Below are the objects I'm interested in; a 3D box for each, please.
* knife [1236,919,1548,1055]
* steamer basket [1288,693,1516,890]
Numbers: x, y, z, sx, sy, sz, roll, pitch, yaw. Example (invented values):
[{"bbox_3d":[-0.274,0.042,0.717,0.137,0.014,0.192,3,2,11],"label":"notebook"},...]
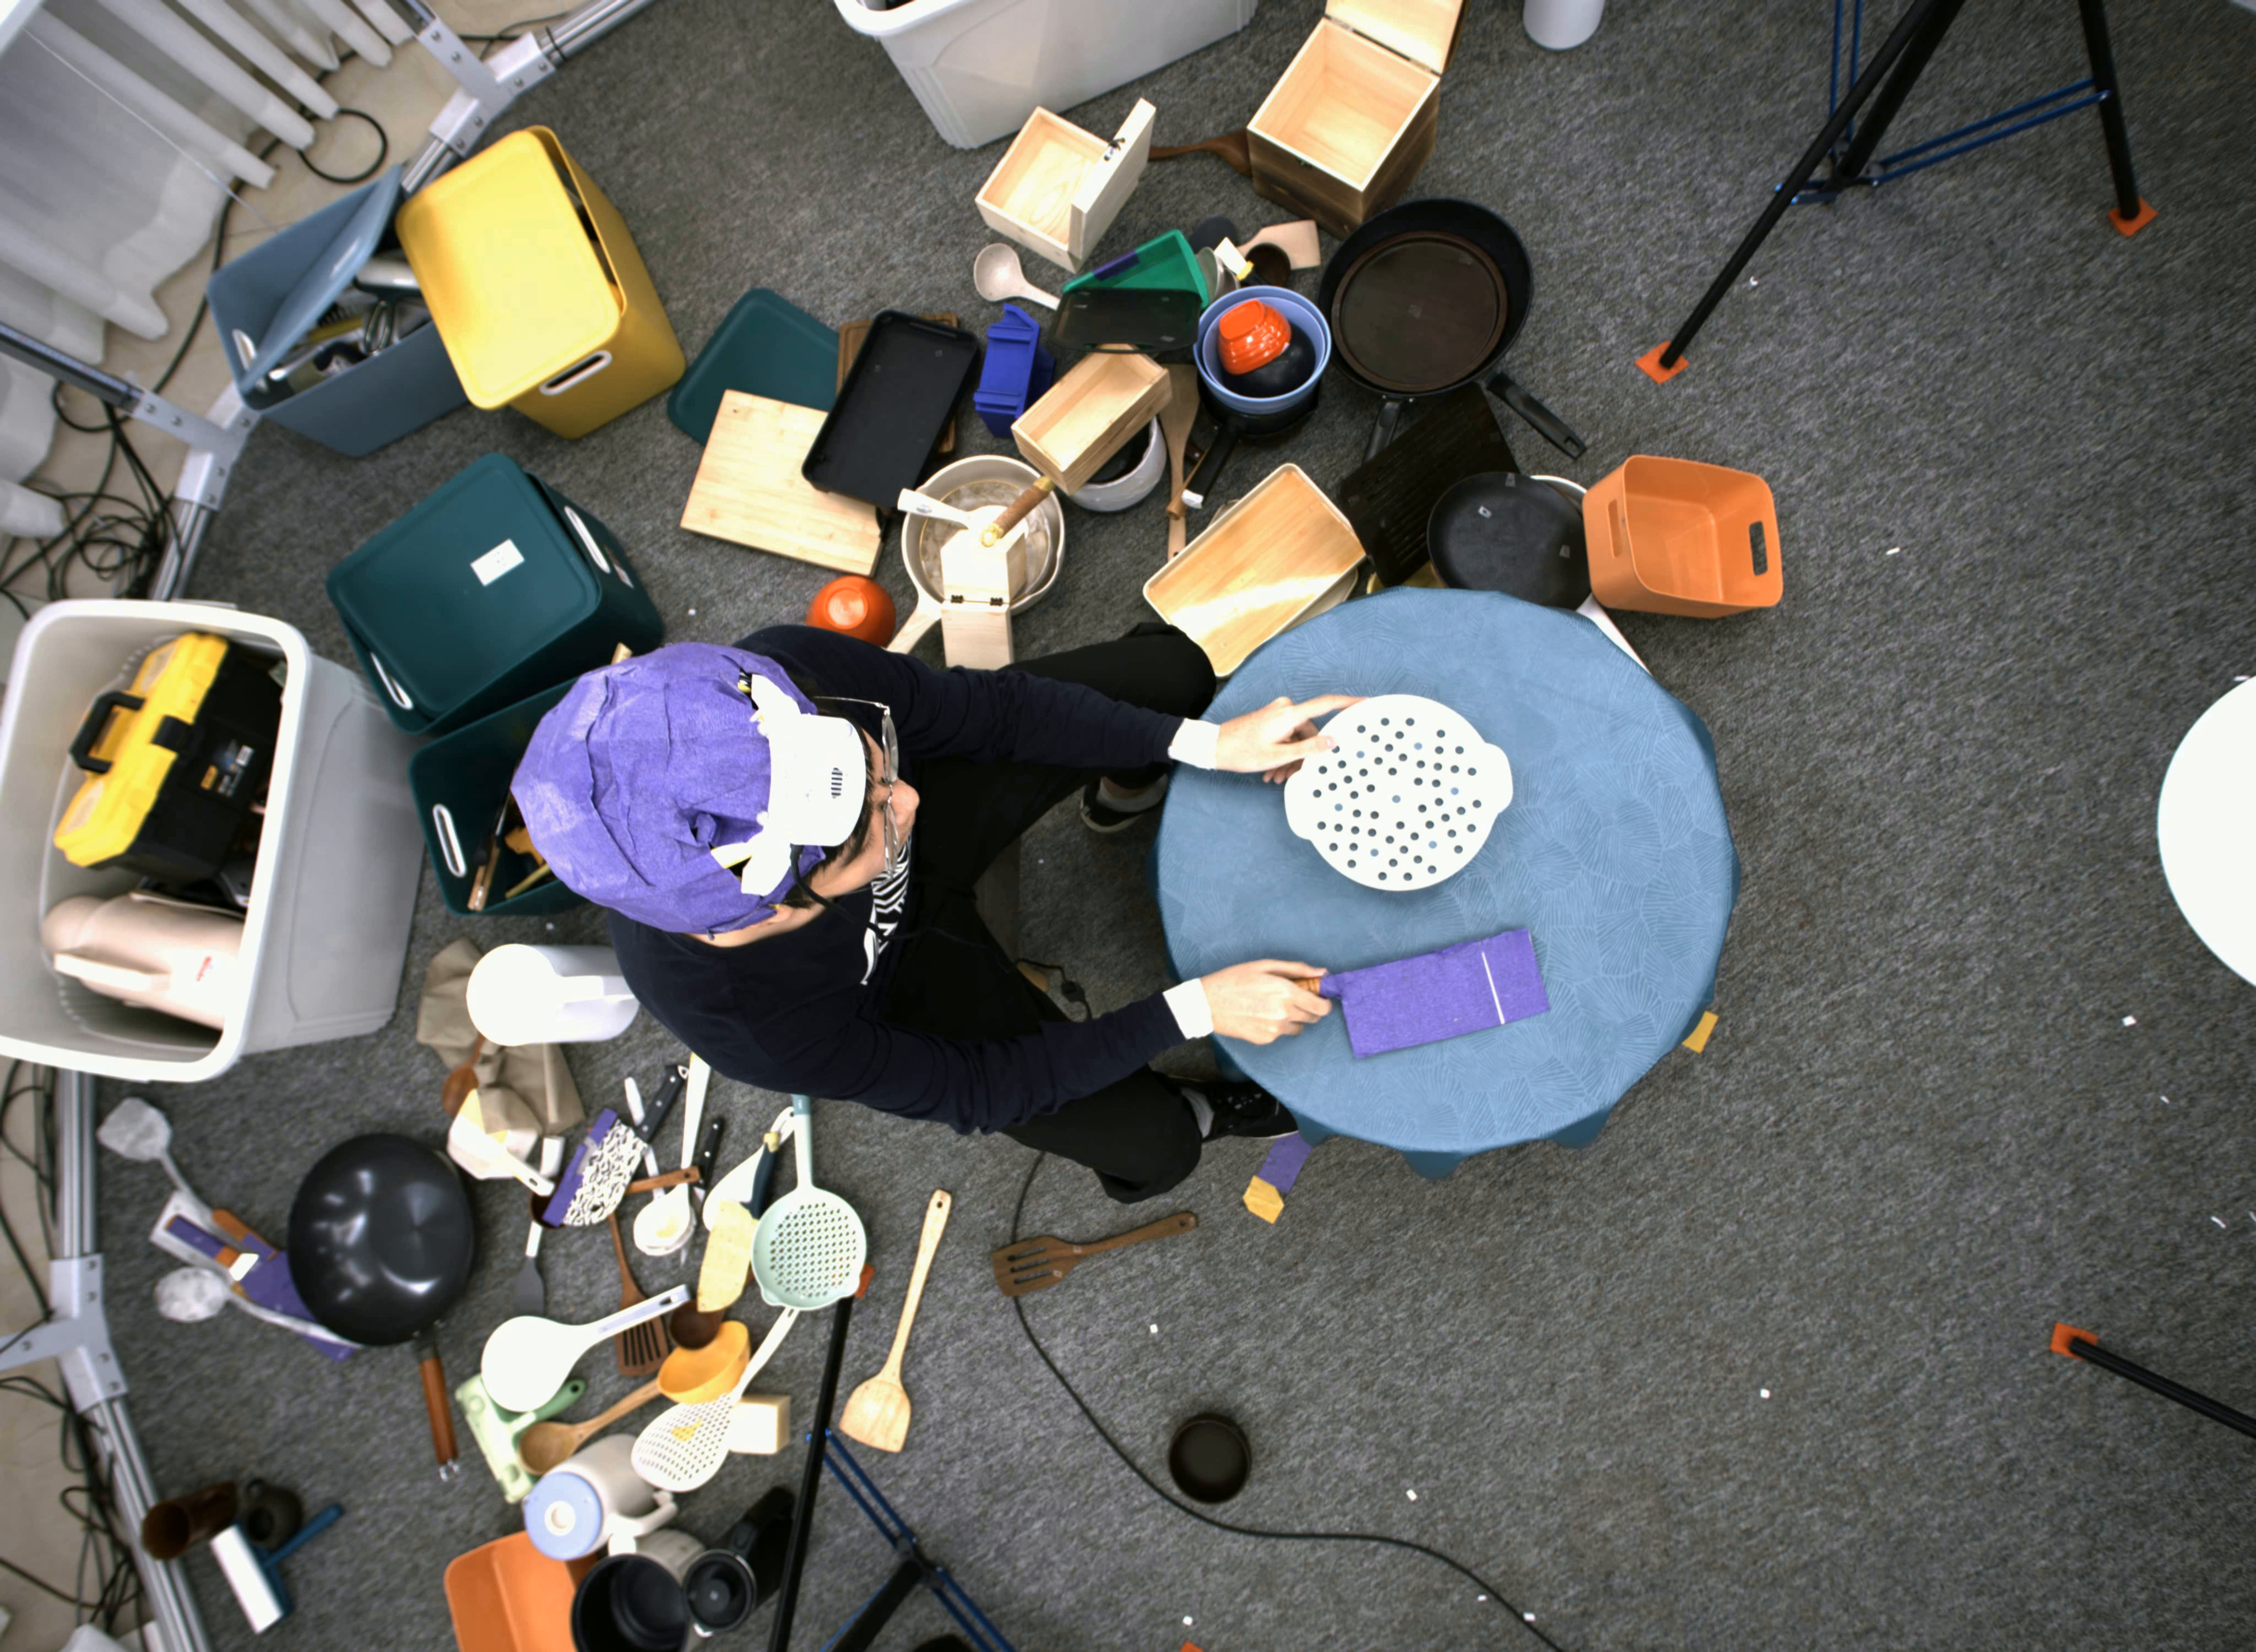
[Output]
[{"bbox_3d":[0.274,0.182,1.430,0.317,0.032,0.104,-15,93,8],"label":"knife"},{"bbox_3d":[0.284,-0.035,1.431,0.232,0.069,0.200,-8,84,13],"label":"steamer basket"}]
